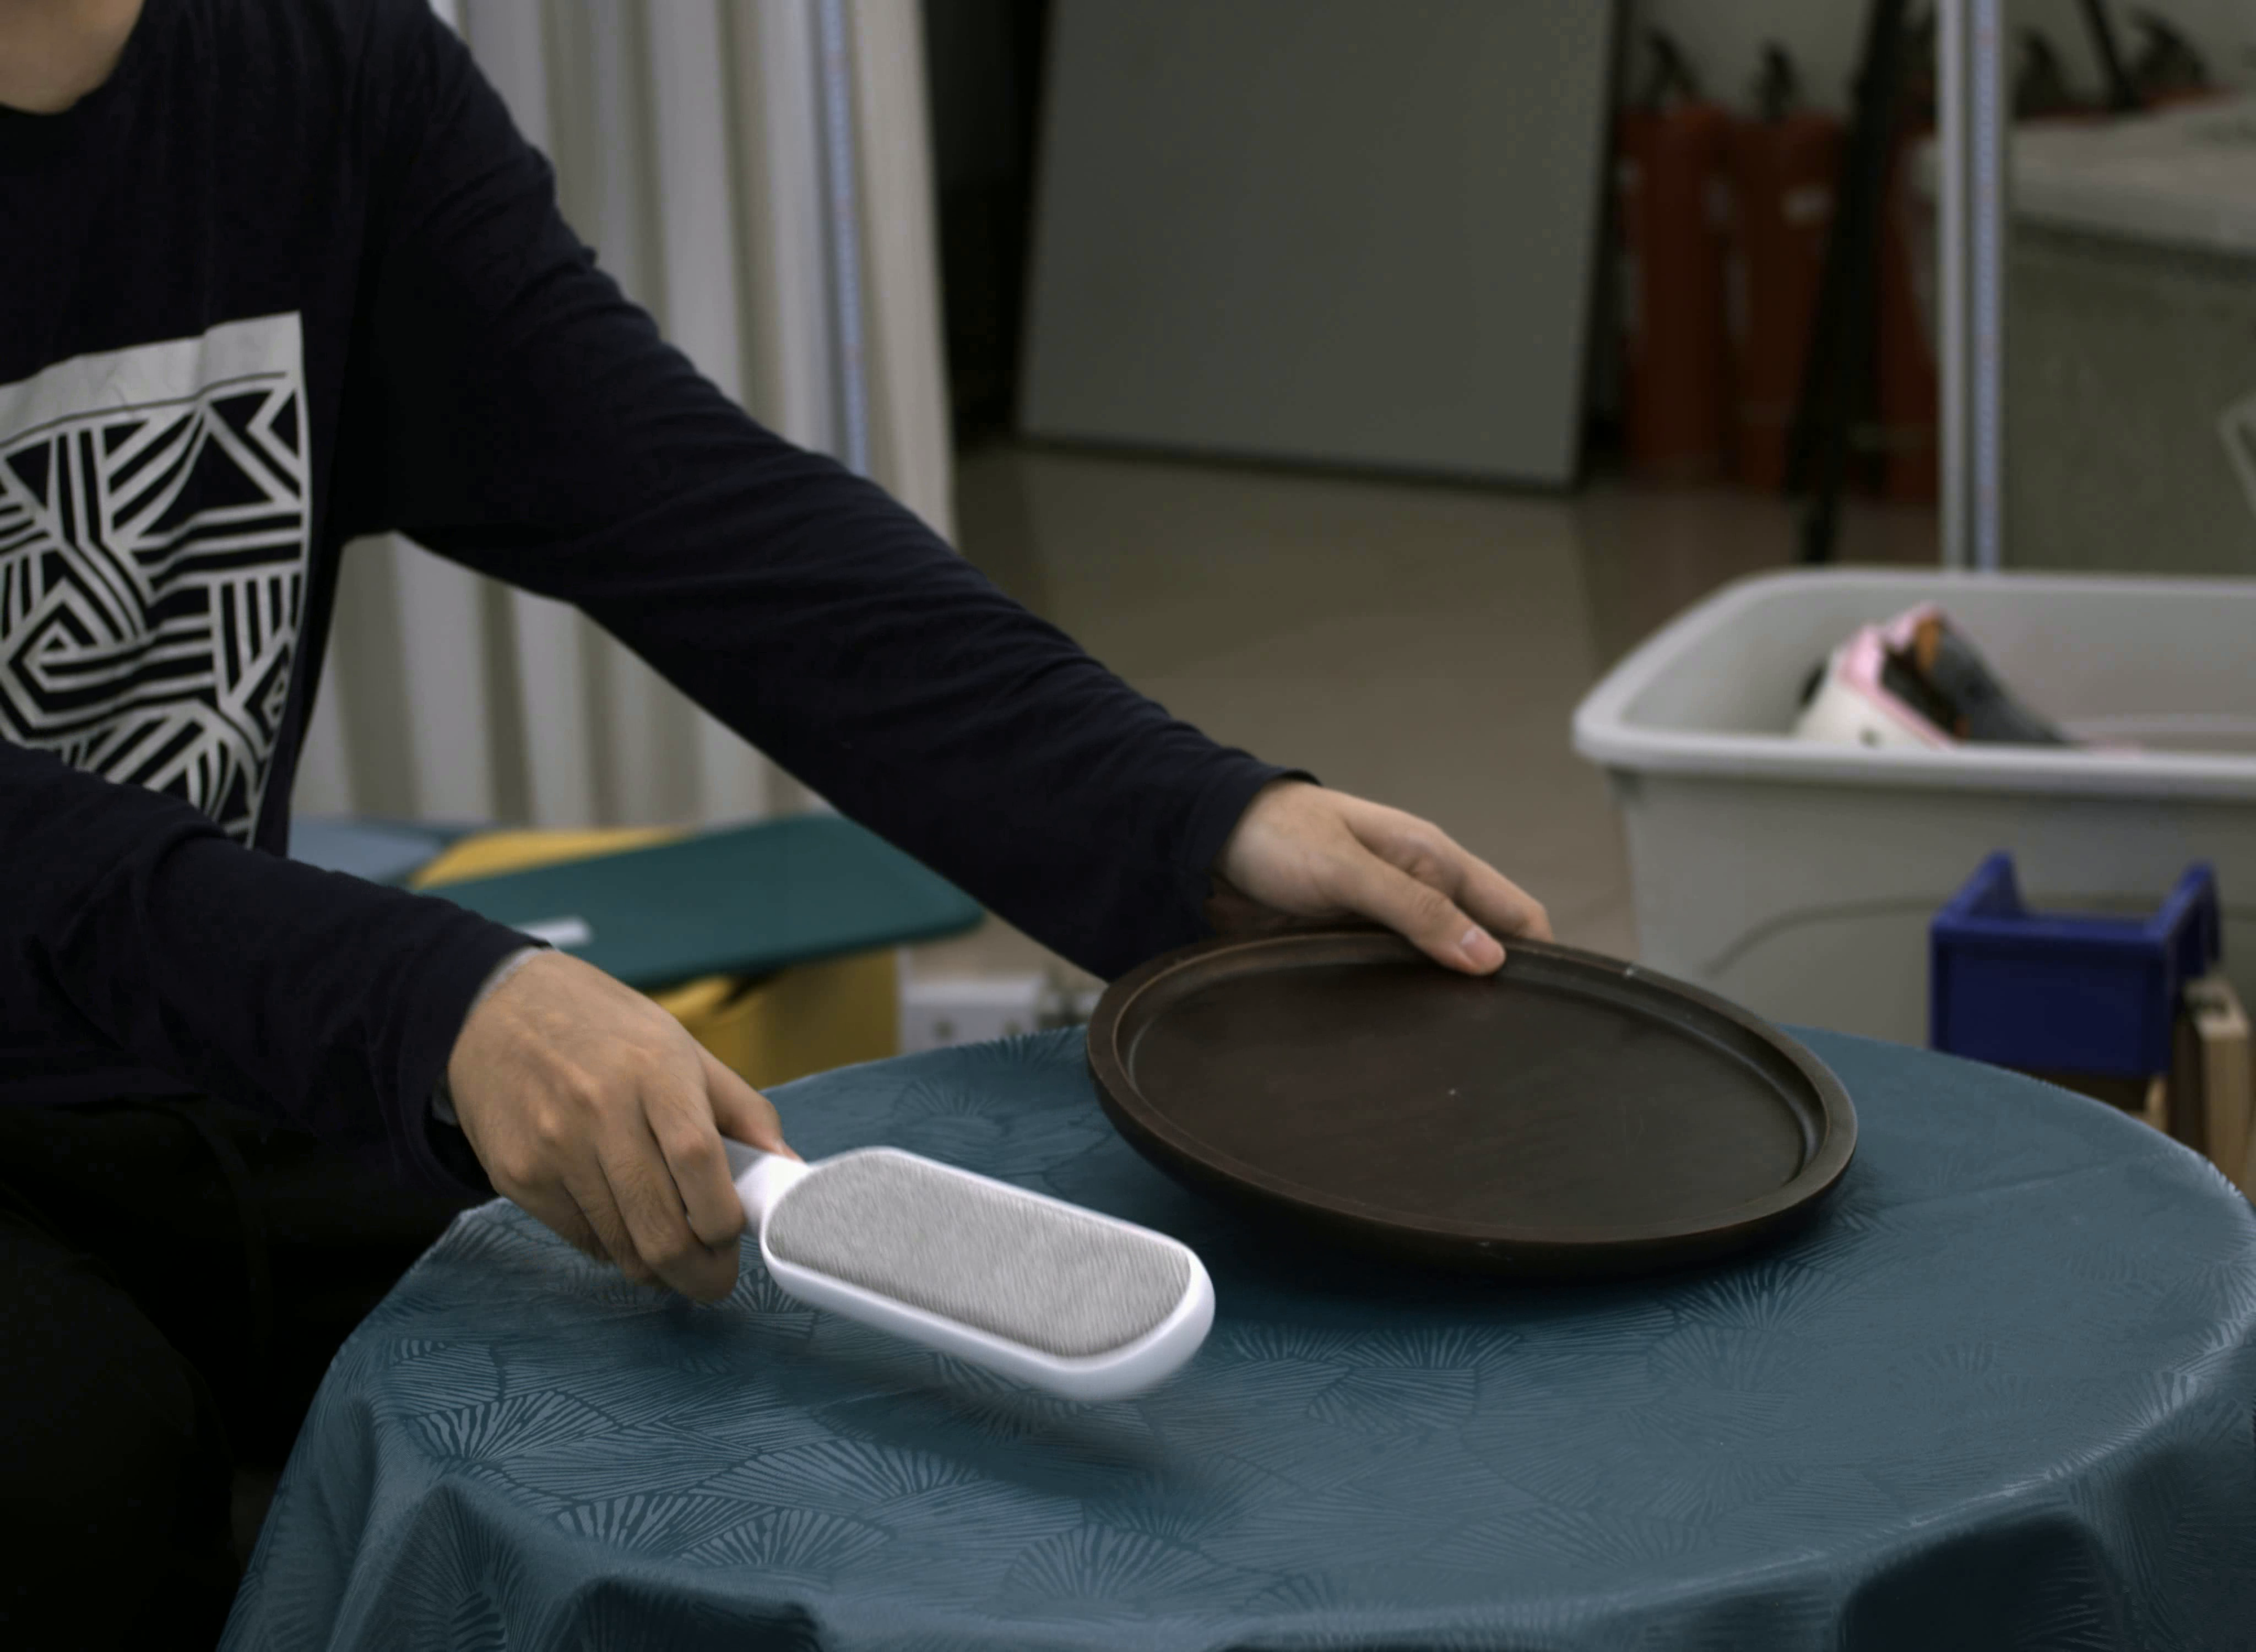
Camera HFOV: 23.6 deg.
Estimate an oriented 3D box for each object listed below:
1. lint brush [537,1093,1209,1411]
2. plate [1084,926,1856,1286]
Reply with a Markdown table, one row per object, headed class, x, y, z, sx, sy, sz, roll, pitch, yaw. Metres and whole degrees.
| class | x | y | z | sx | sy | sz | roll | pitch | yaw |
| --- | --- | --- | --- | --- | --- | --- | --- | --- | --- |
| lint brush | -0.083 | 0.119 | 1.620 | 0.312 | 0.021 | 0.060 | 14 | 56 | 49 |
| plate | 0.110 | 0.088 | 1.737 | 0.251 | 0.029 | 0.255 | 5 | 19 | -3 |
